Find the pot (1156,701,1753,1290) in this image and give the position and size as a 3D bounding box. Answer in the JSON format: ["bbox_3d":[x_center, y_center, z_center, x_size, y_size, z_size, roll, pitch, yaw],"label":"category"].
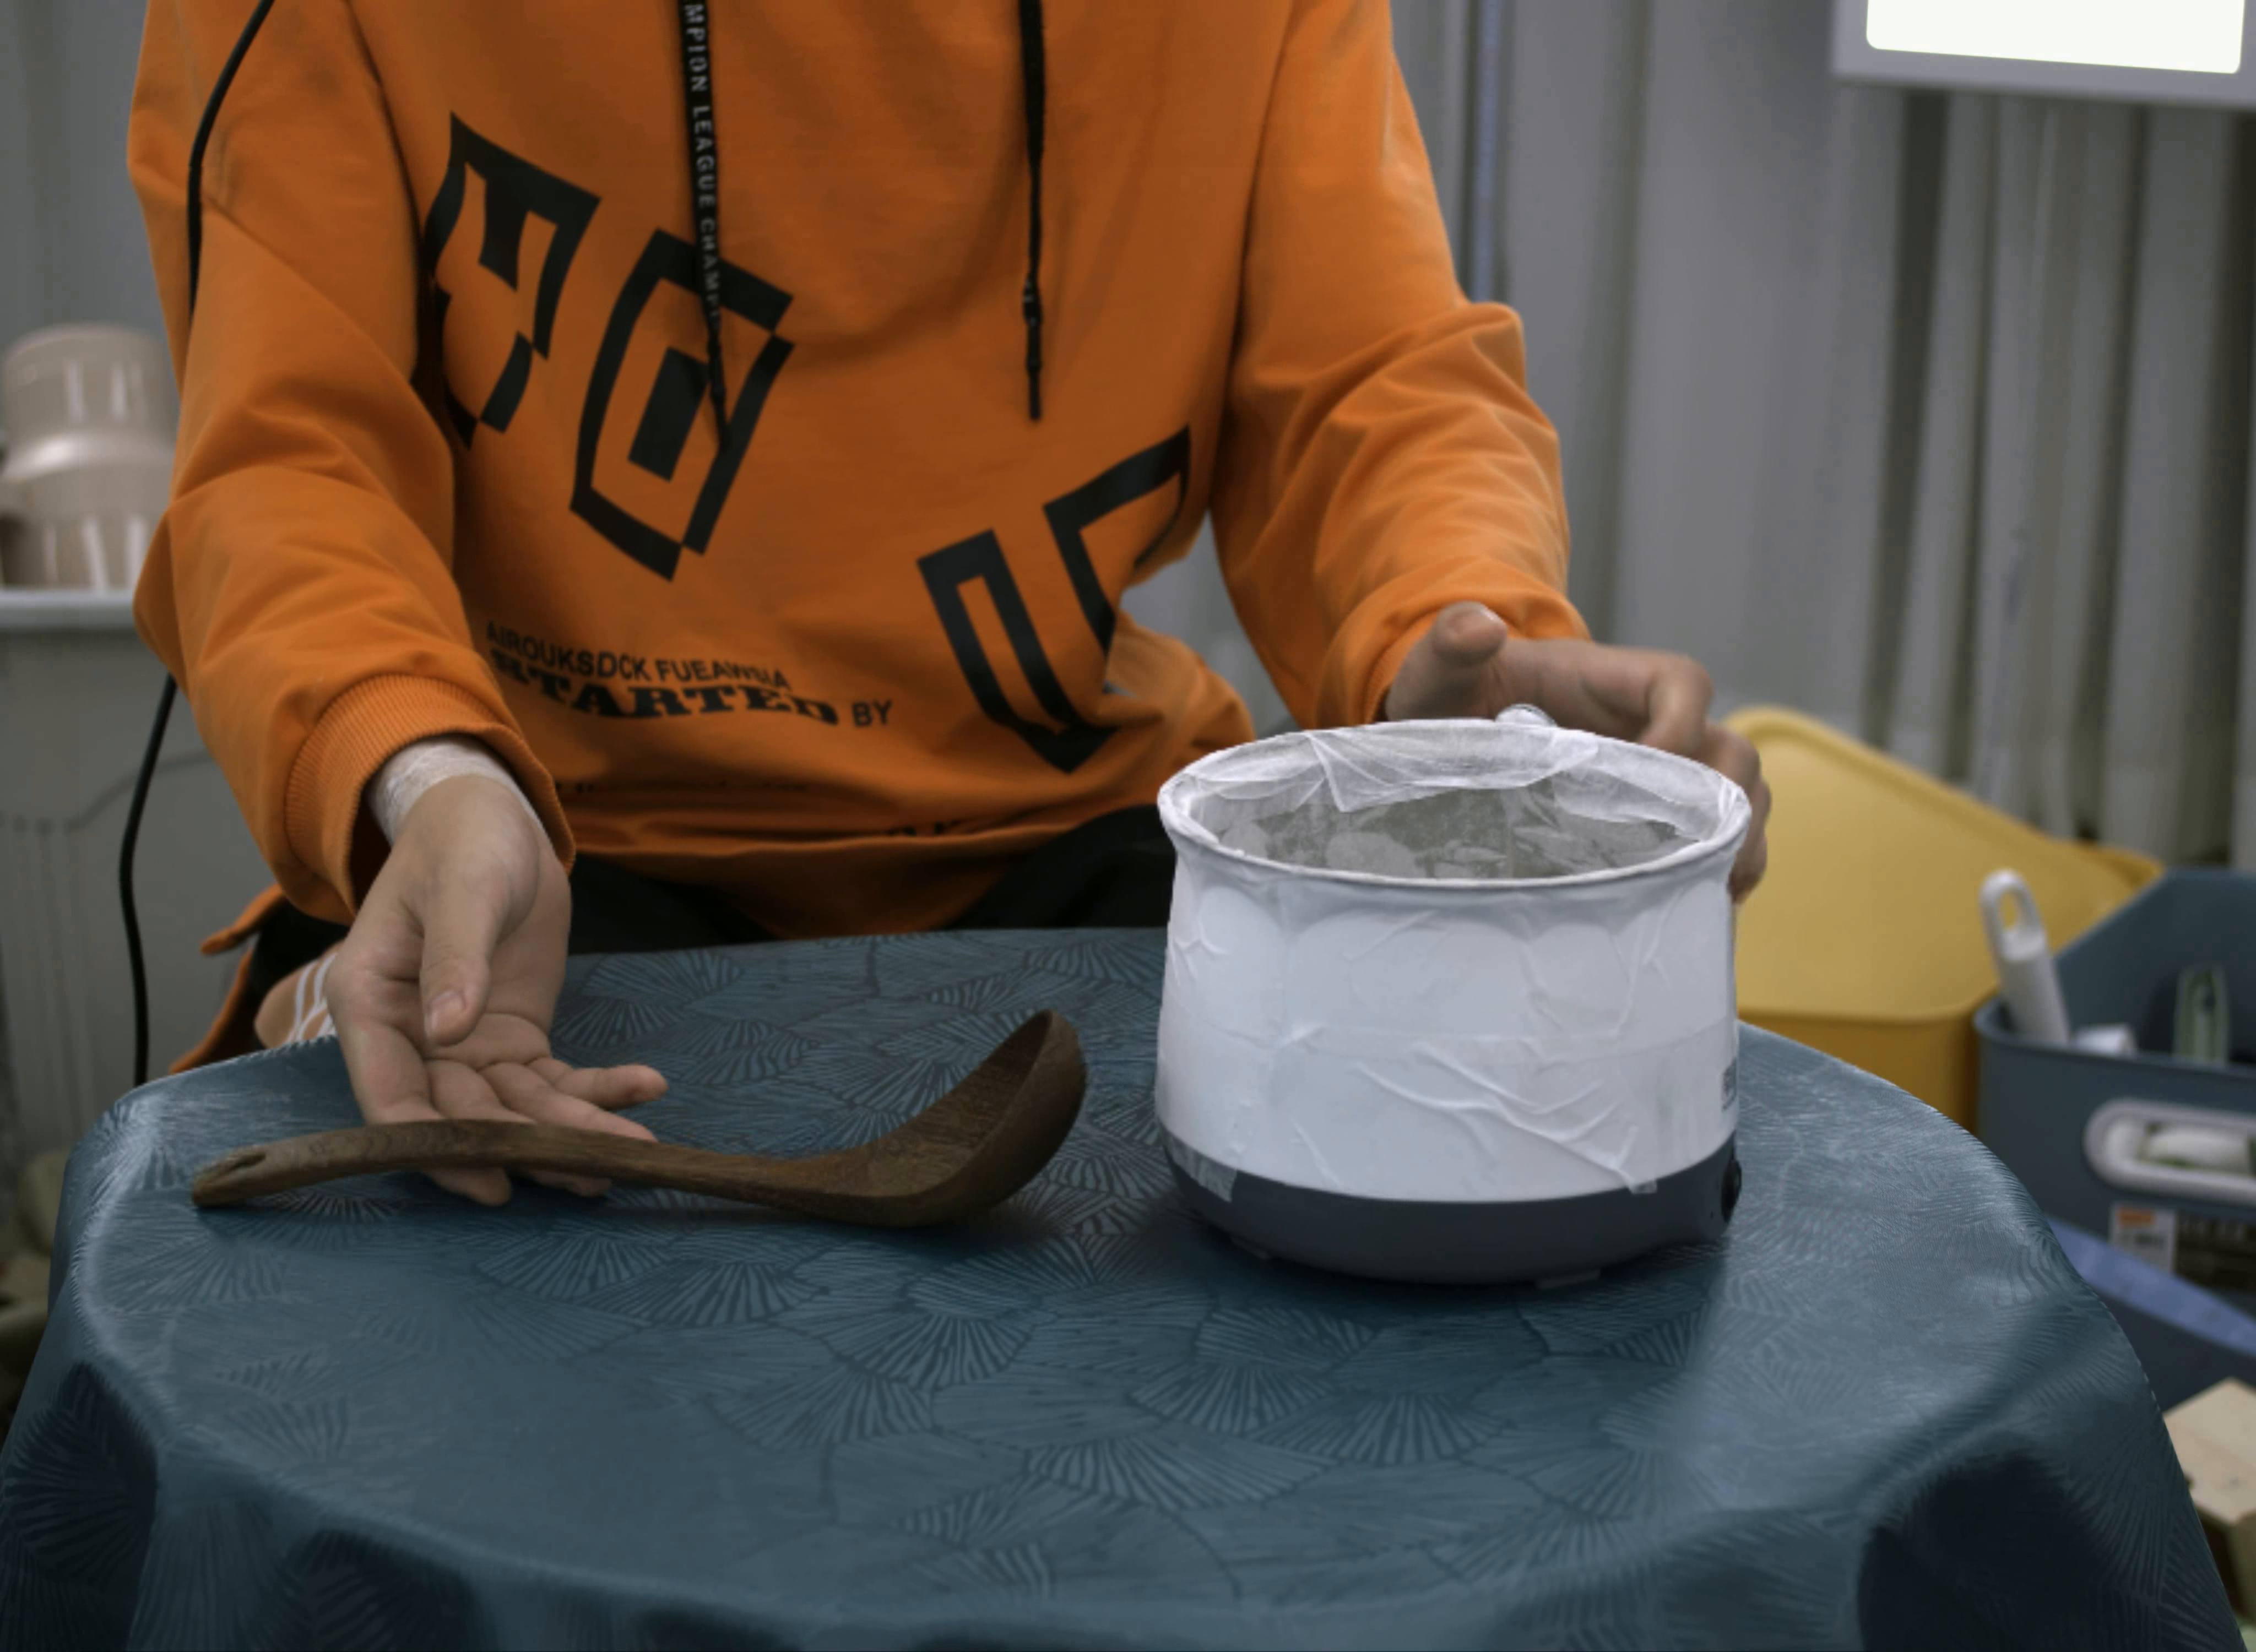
[{"bbox_3d":[0.104,0.045,1.609,0.177,0.138,0.233,5,17,13],"label":"pot"}]

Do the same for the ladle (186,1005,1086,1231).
[{"bbox_3d":[-0.149,0.083,1.588,0.273,0.072,0.075,3,19,2],"label":"ladle"}]
